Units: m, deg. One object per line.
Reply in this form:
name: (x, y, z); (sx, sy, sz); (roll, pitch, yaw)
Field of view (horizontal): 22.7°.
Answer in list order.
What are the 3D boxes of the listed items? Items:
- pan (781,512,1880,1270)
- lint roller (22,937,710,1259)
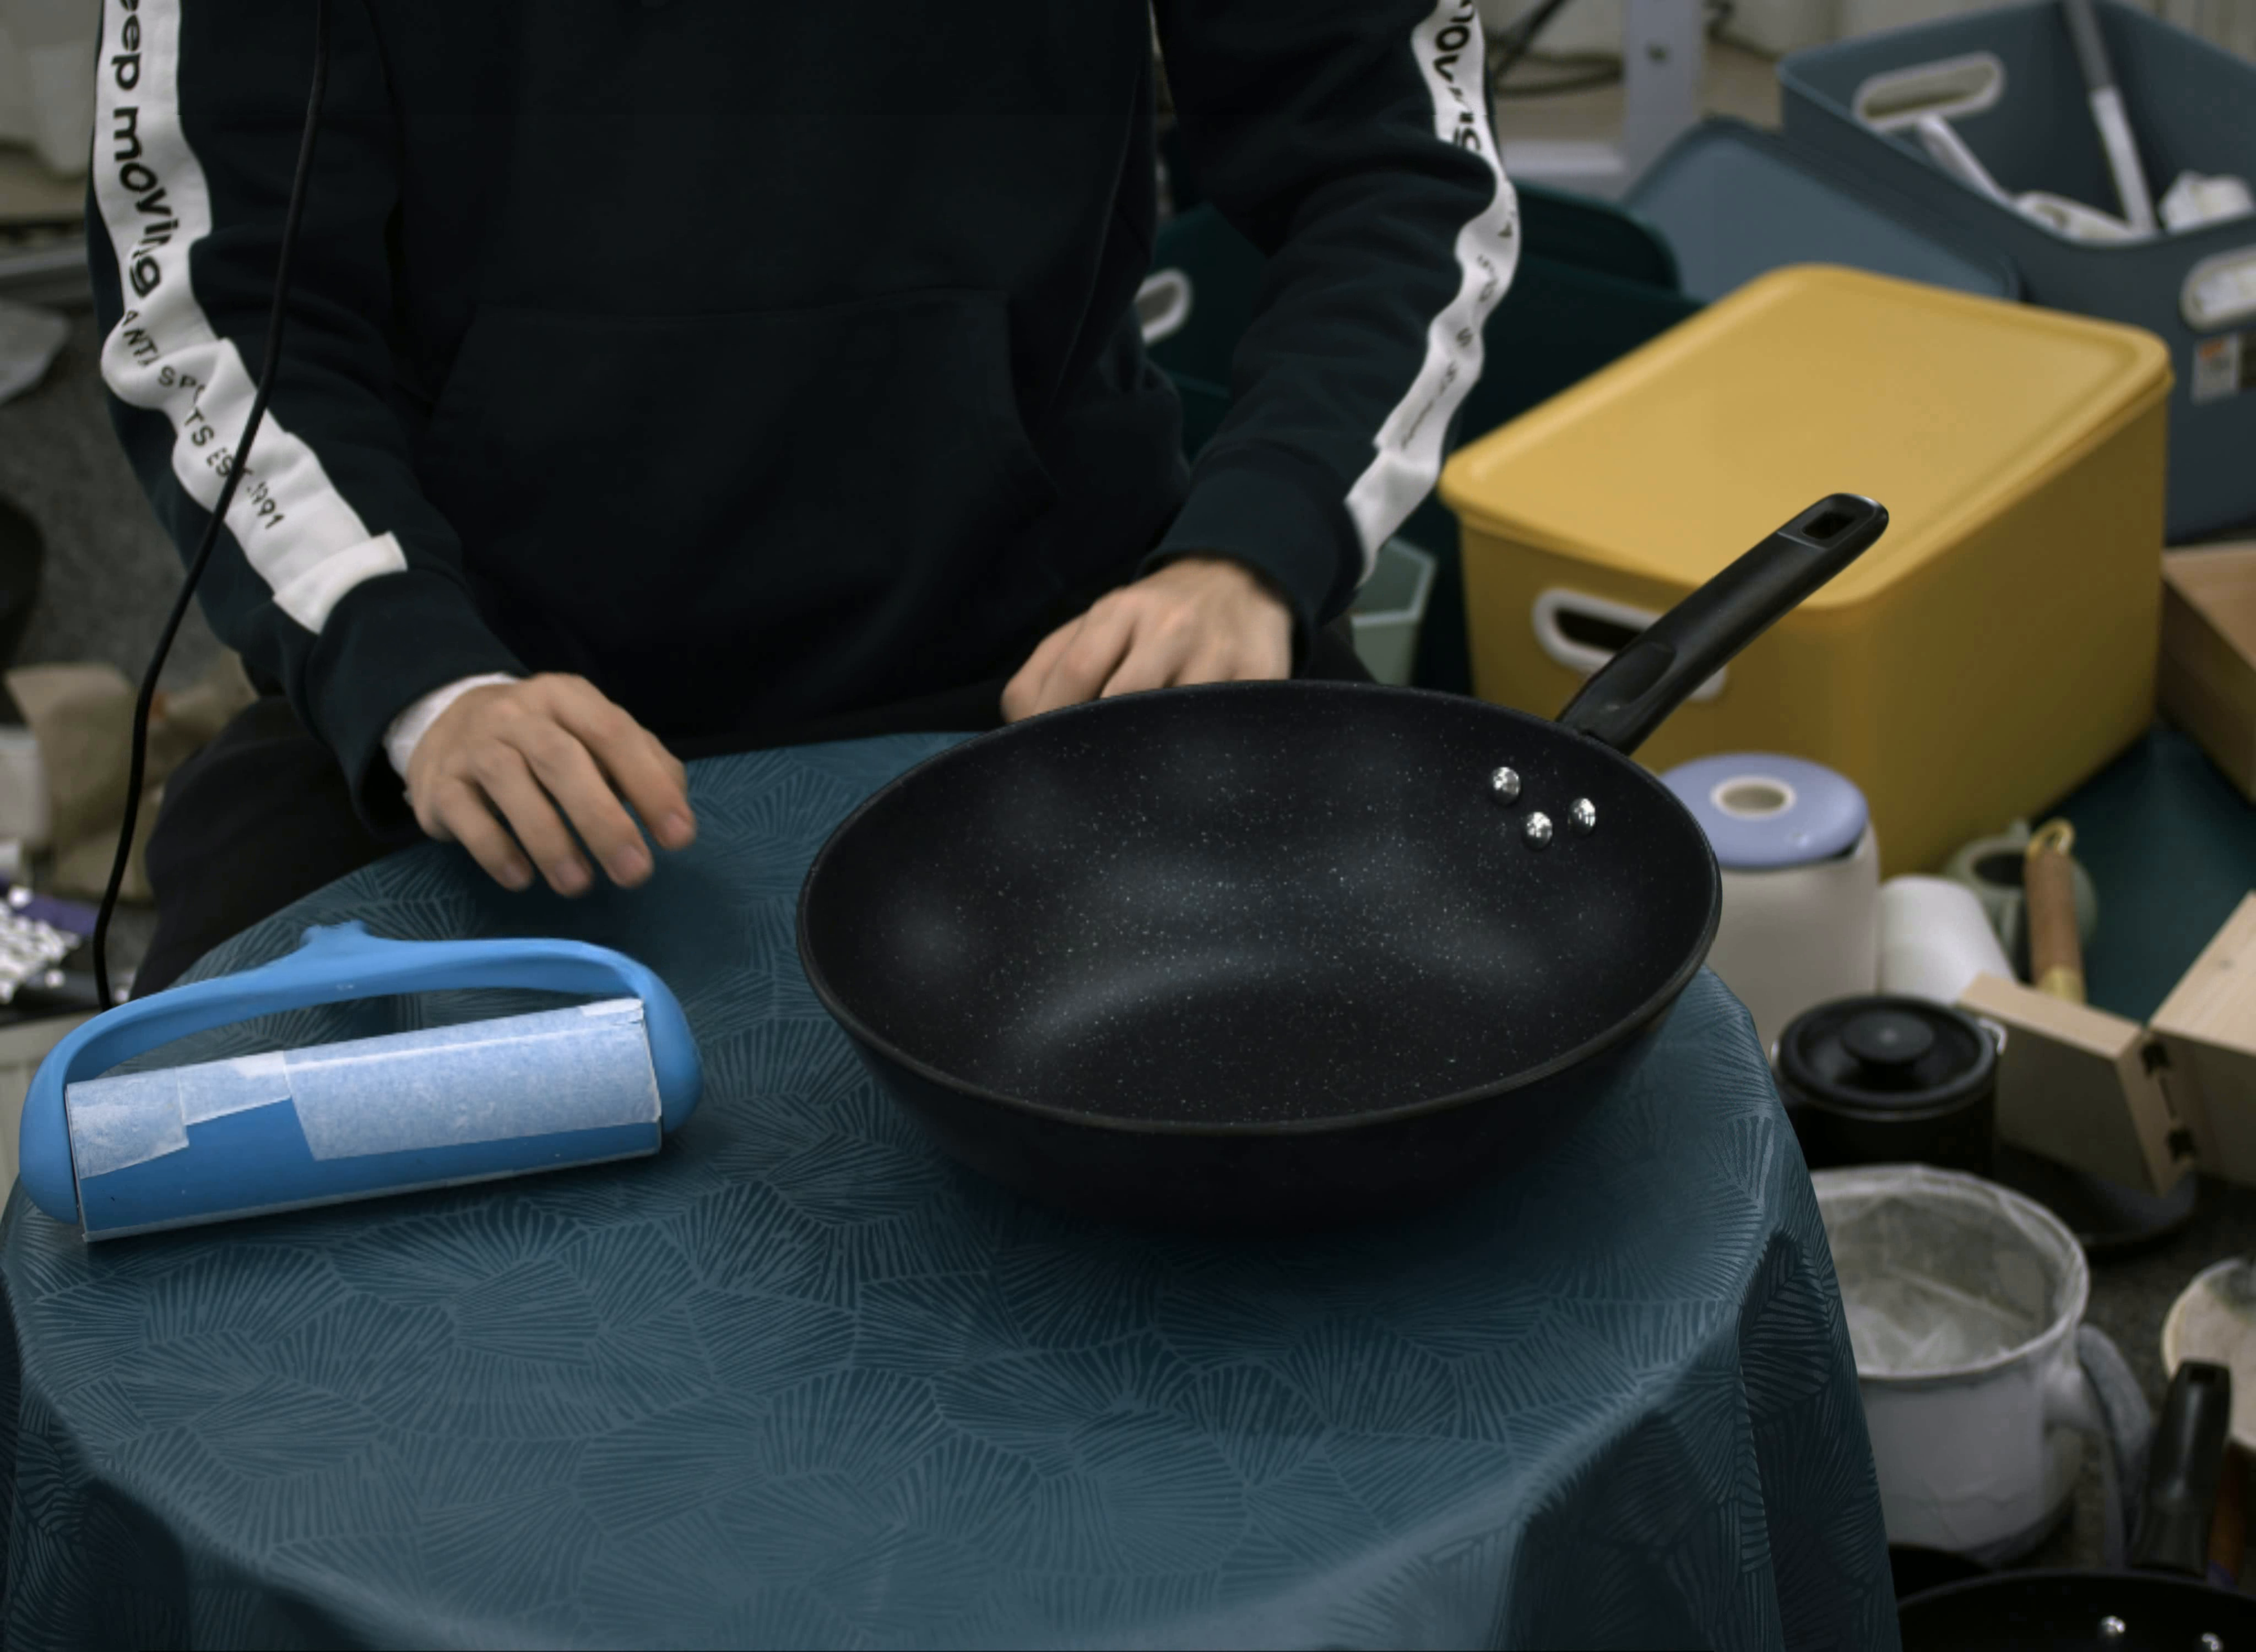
pan: (0.099, 0.022, 1.929); (0.310, 0.110, 0.483); (24, 38, 39)
lint roller: (-0.268, 0.073, 1.920); (0.229, 0.067, 0.182); (-12, 29, -12)
